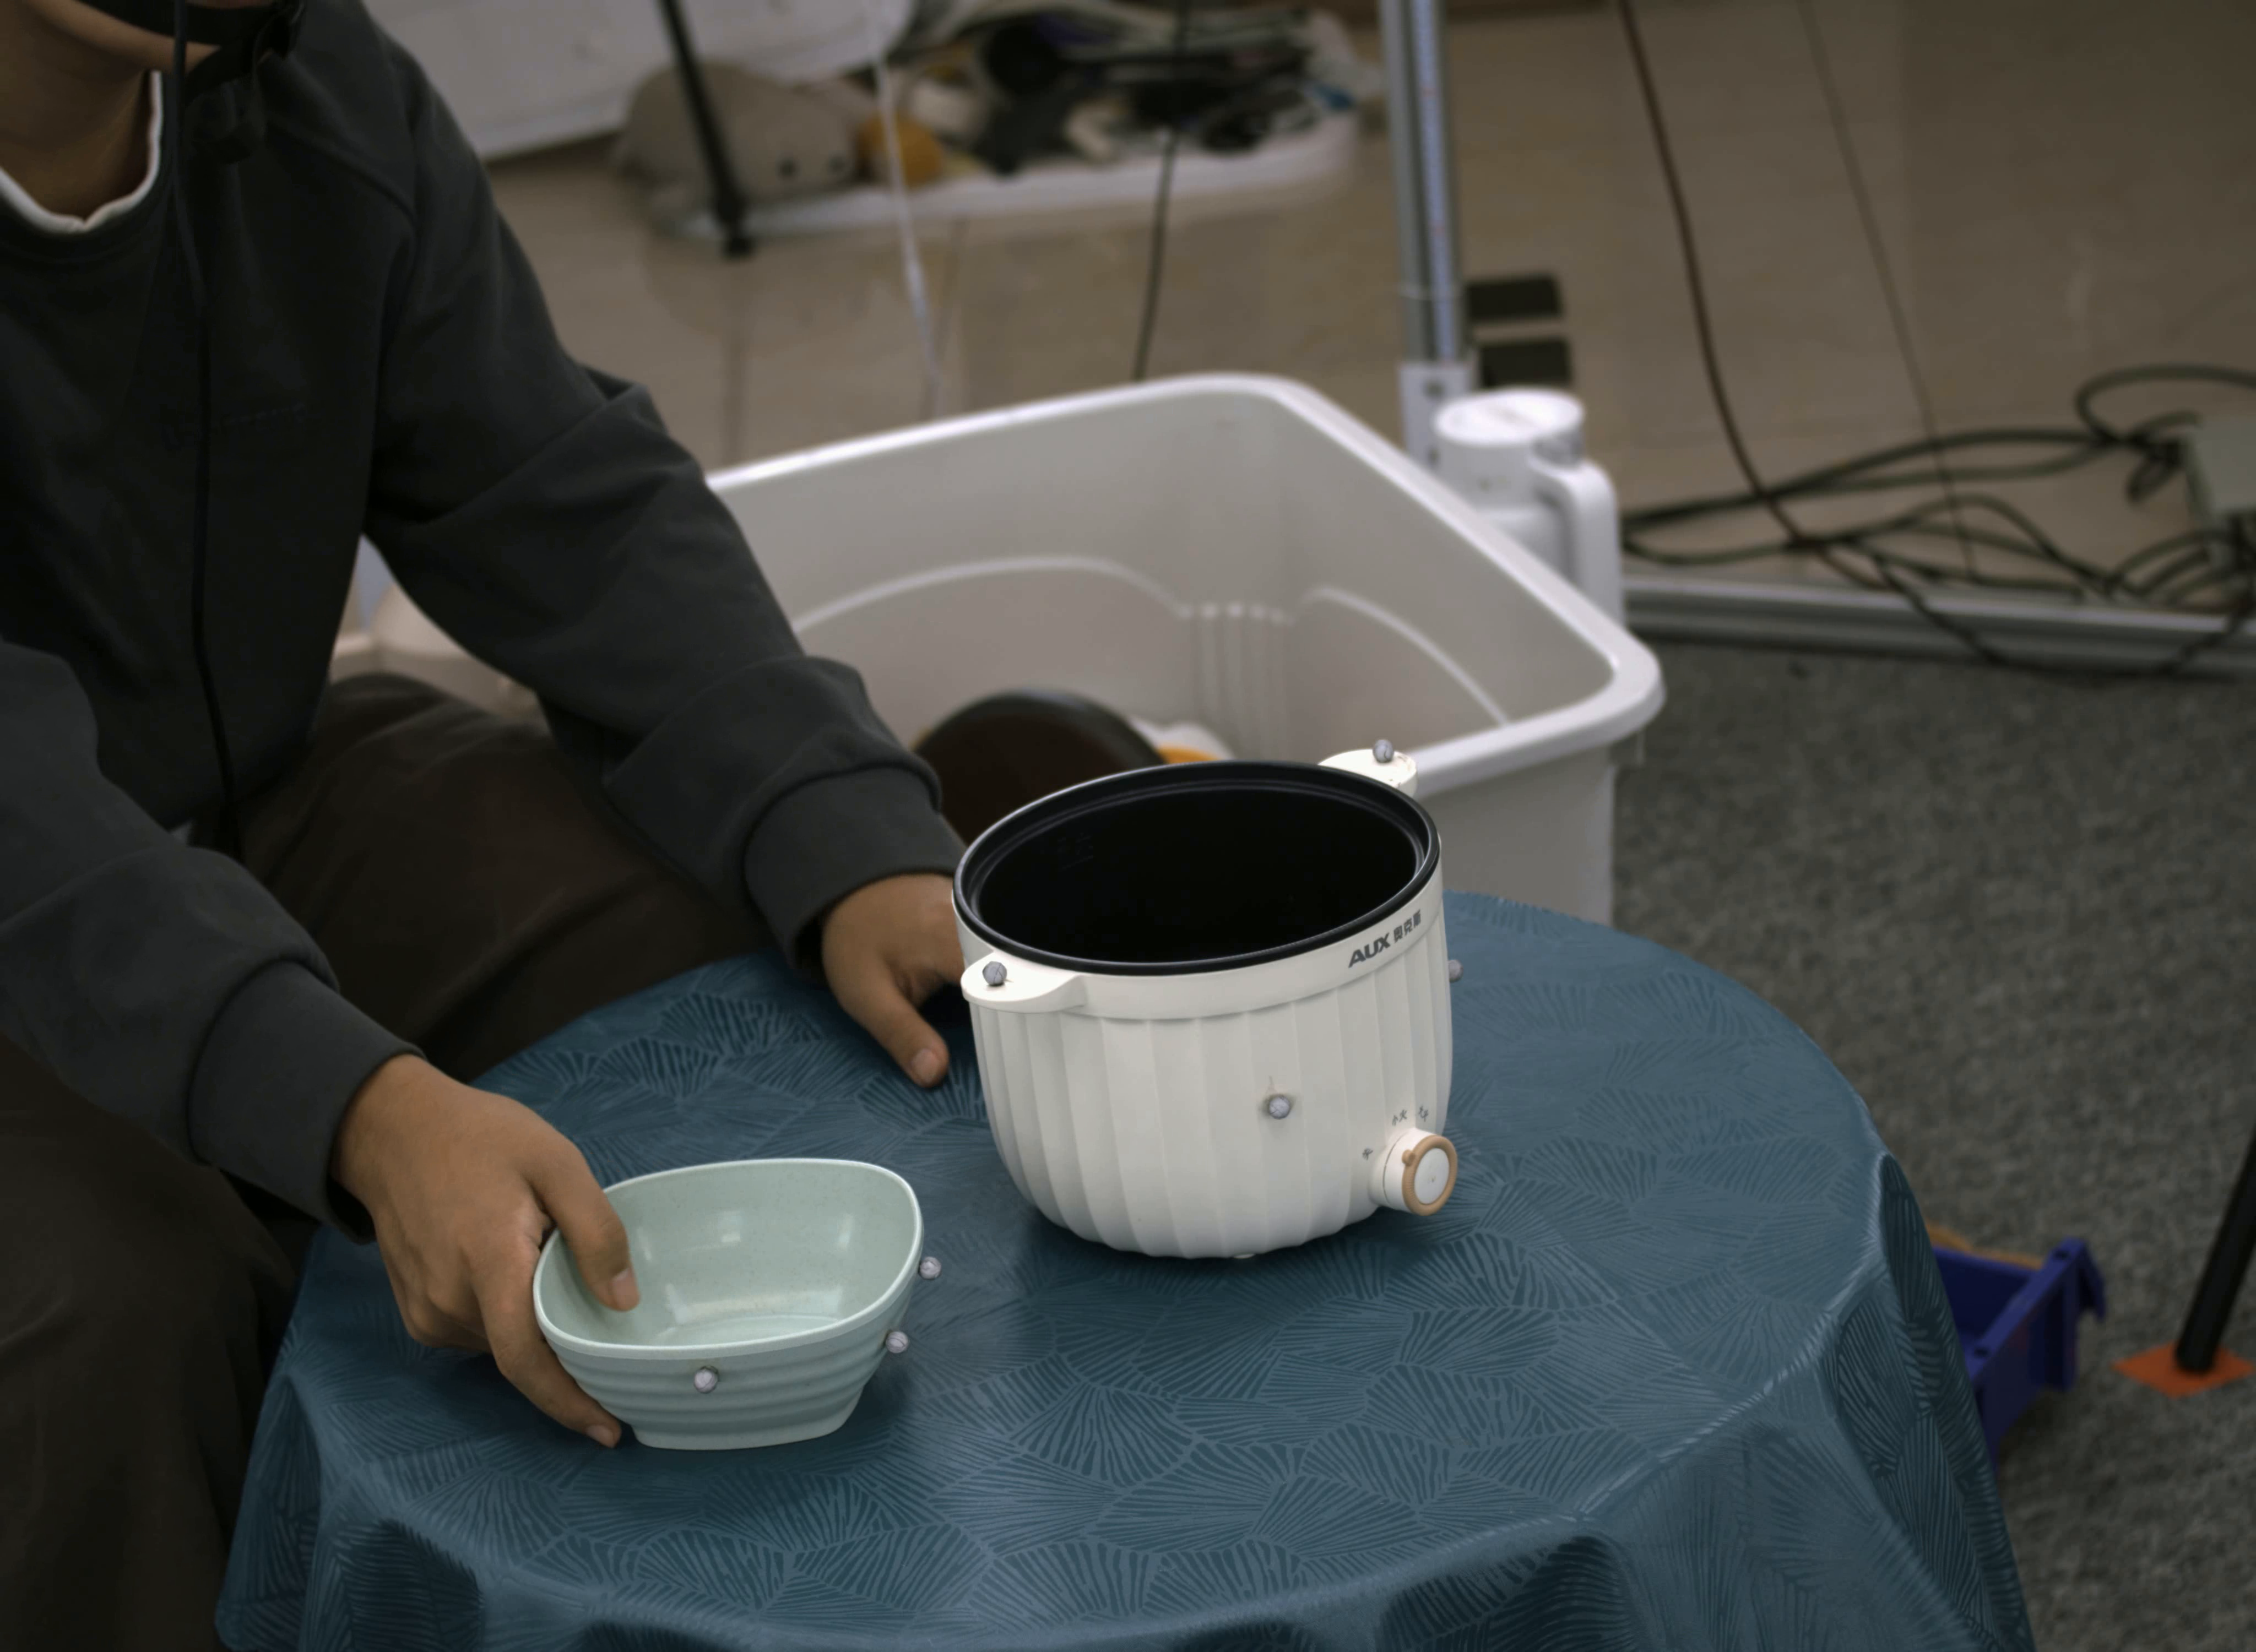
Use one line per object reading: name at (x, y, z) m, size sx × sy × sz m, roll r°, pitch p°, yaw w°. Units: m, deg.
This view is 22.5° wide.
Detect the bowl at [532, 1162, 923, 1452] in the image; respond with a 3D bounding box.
bowl at (-0.140, 0.178, 2.032) m, size 0.151 × 0.059 × 0.149 m, roll -4°, pitch 25°, yaw 2°

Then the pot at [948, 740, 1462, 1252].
pot at (0.036, 0.071, 2.117) m, size 0.189 × 0.145 × 0.238 m, roll 11°, pitch 32°, yaw 39°
